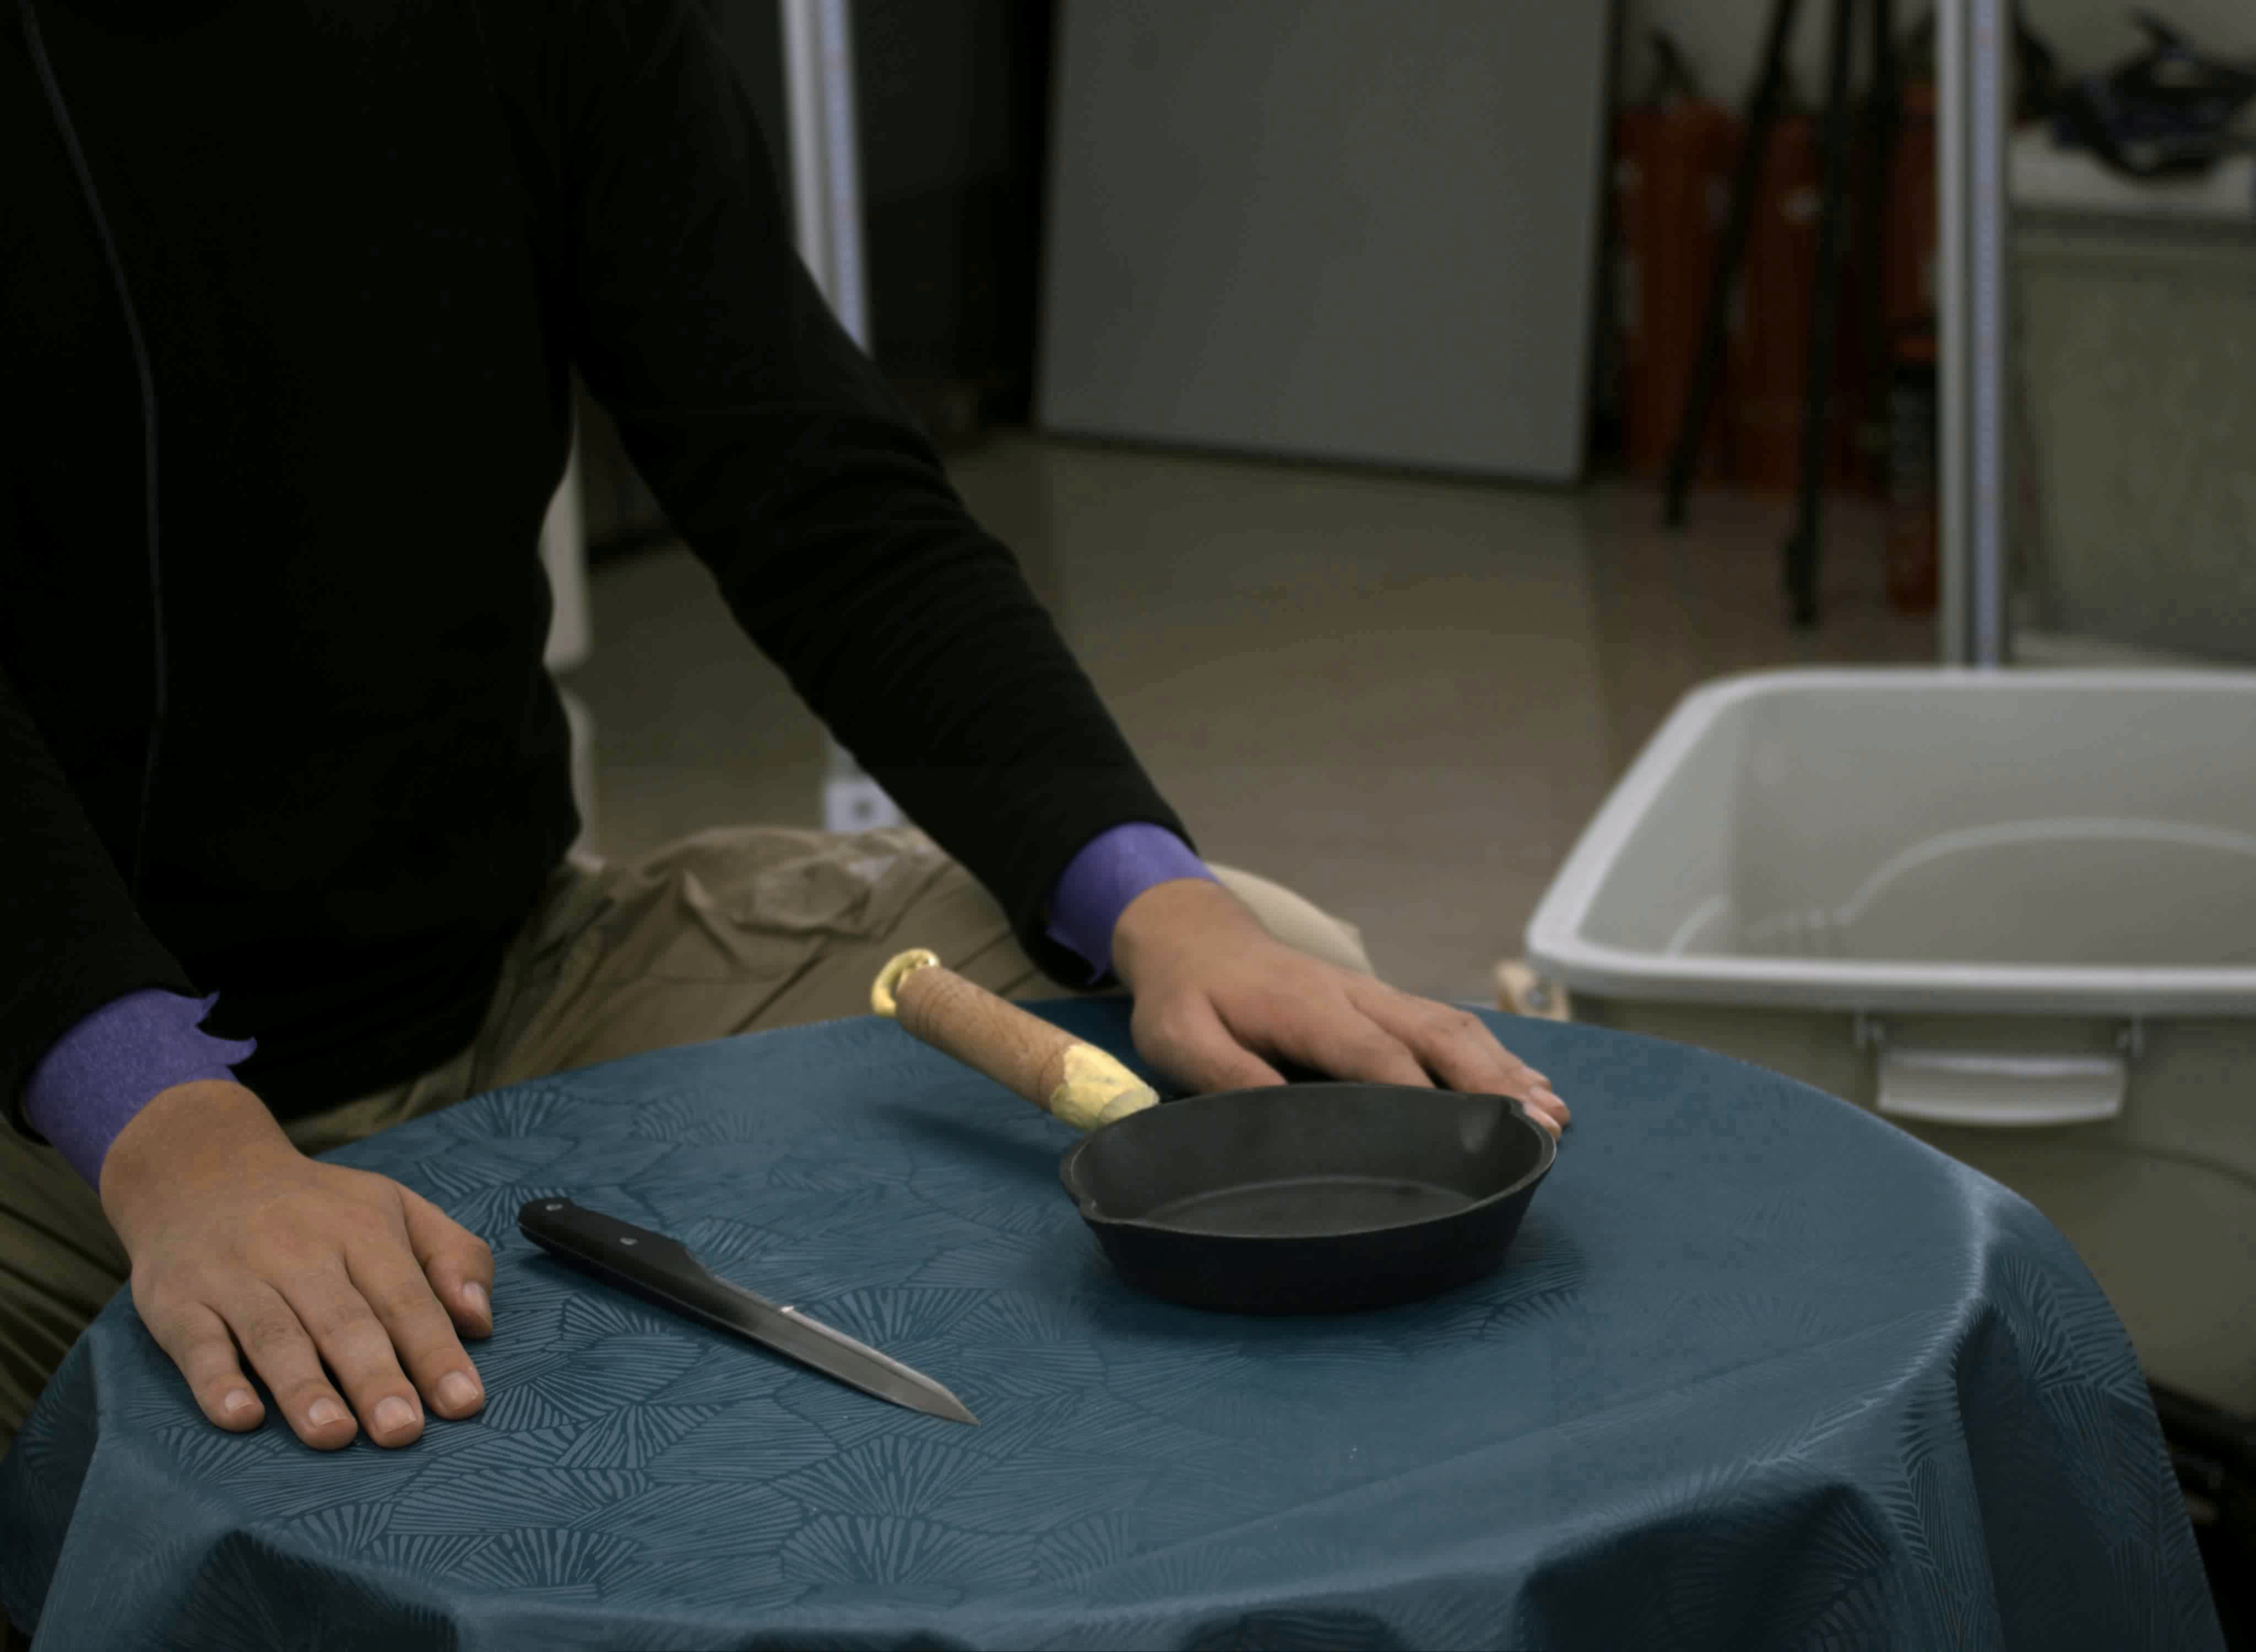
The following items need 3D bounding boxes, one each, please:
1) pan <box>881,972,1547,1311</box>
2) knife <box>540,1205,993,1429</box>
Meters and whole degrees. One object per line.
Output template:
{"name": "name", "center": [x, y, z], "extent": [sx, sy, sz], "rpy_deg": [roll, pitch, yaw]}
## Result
{"name": "pan", "center": [0.010, 0.099, 1.766], "extent": [0.165, 0.050, 0.327], "rpy_deg": [-12, 15, -31]}
{"name": "knife", "center": [-0.115, 0.152, 1.662], "extent": [0.024, 0.016, 0.241], "rpy_deg": [-14, 19, -35]}
